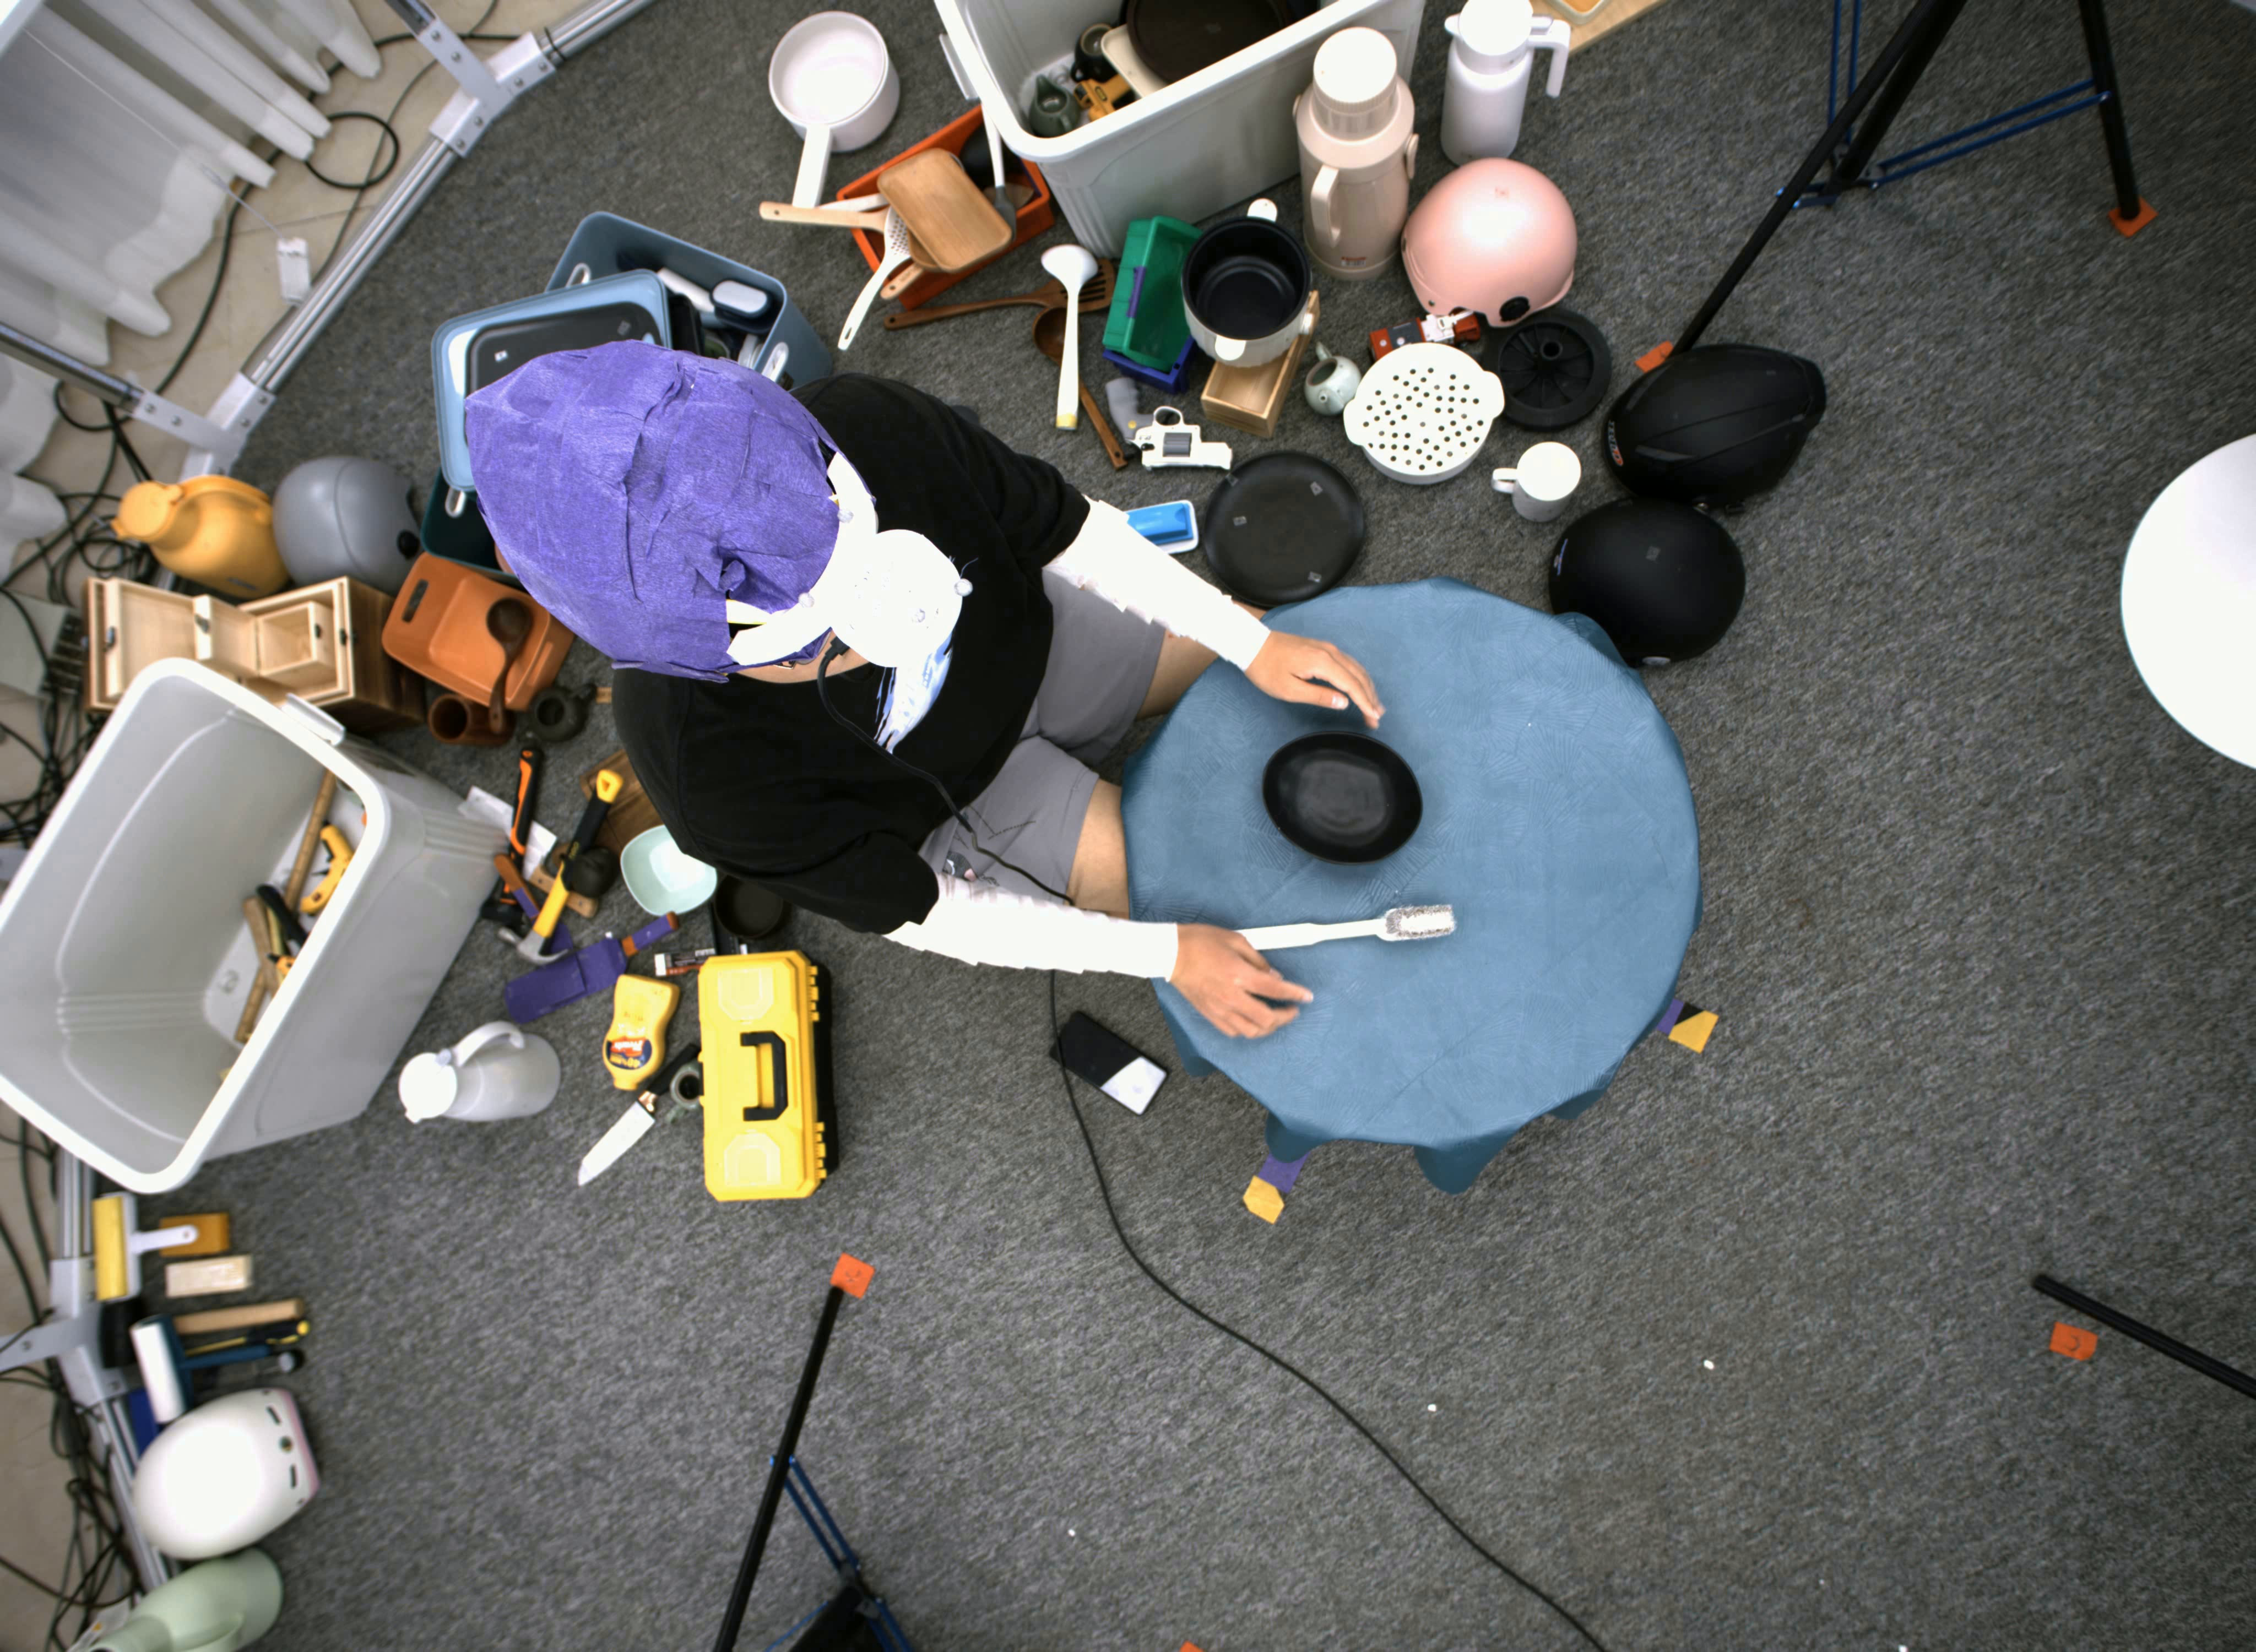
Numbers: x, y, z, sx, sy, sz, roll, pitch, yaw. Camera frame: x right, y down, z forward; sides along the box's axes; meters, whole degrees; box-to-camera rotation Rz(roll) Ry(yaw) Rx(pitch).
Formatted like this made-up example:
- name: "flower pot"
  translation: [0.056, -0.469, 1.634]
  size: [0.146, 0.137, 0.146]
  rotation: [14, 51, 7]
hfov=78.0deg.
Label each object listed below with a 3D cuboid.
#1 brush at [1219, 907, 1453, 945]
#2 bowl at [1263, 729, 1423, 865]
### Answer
- name: "brush"
  translation: [0.214, 0.105, 1.443]
  size: [0.245, 0.050, 0.034]
  rotation: [-4, 86, 10]
- name: "bowl"
  translation: [0.223, -0.028, 1.441]
  size: [0.170, 0.067, 0.137]
  rotation: [19, 90, 13]
